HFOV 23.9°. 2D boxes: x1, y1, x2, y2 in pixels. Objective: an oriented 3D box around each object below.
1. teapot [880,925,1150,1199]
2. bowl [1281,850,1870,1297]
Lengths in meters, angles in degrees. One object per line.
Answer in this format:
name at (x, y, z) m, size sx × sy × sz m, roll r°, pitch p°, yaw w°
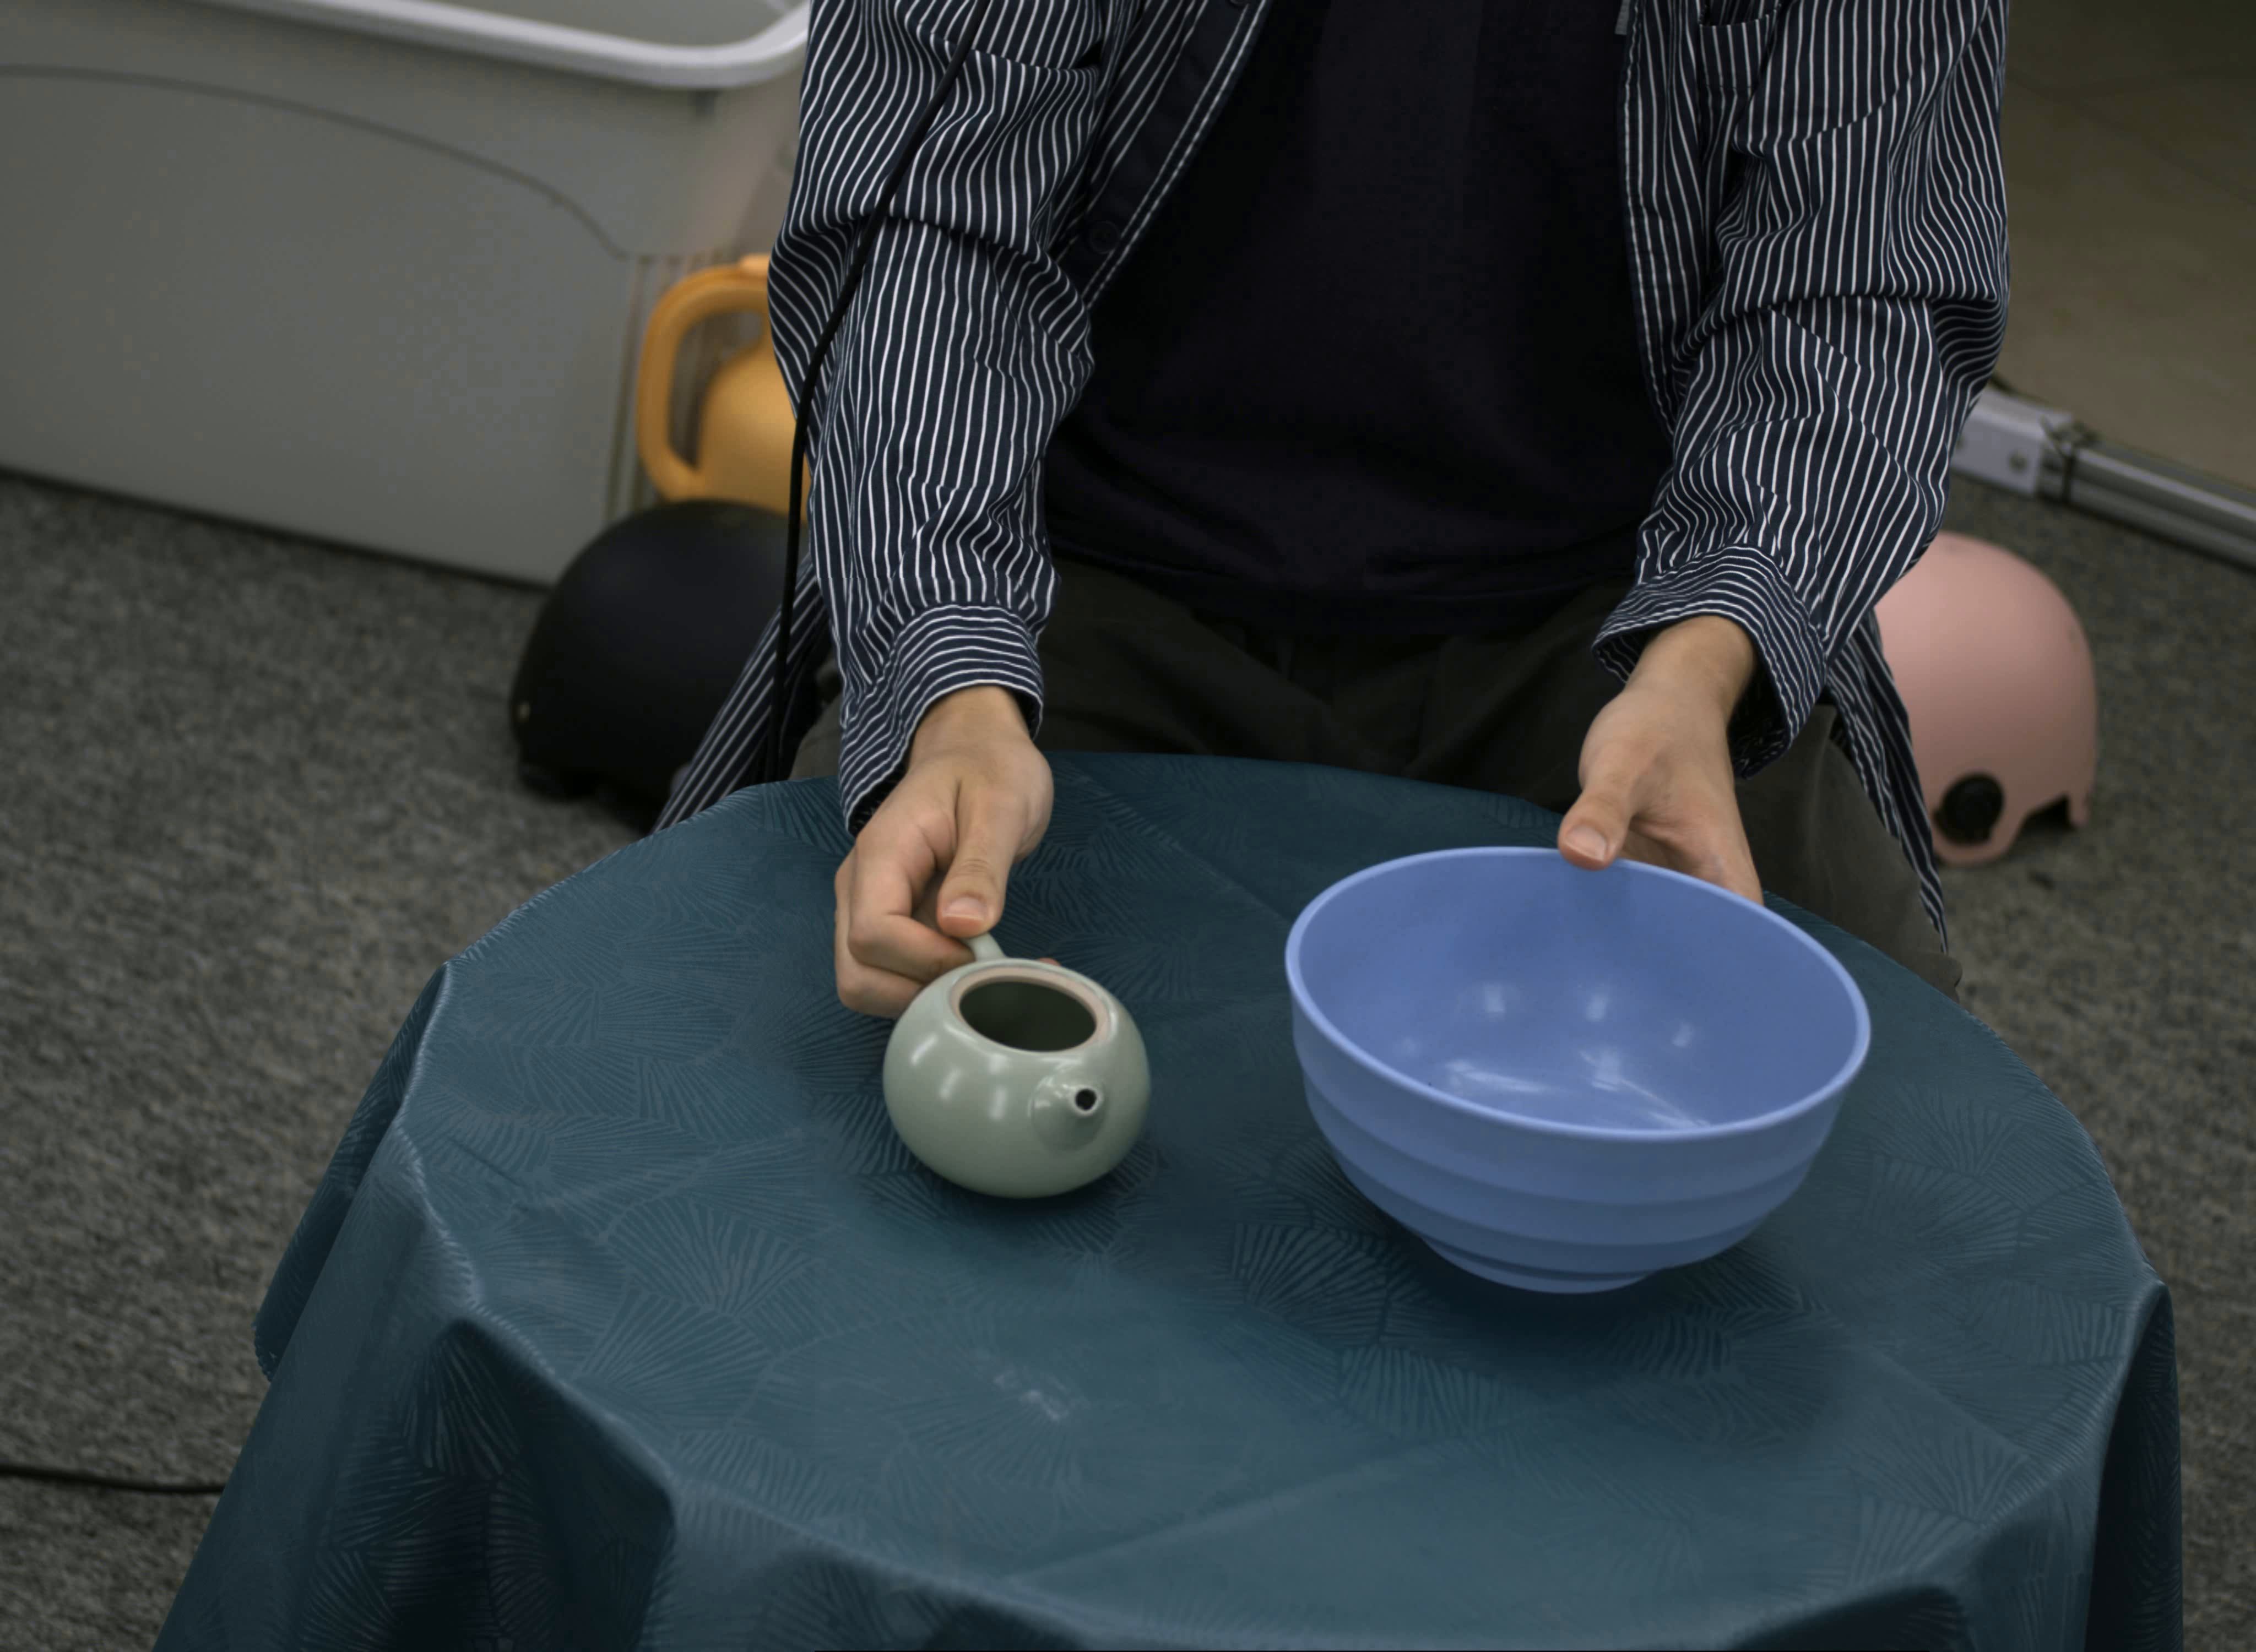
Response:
teapot at (-0.041, 0.081, 1.803) m, size 0.091 × 0.061 × 0.129 m, roll -3°, pitch 31°, yaw -18°
bowl at (0.144, 0.094, 1.786) m, size 0.196 × 0.095 × 0.197 m, roll 4°, pitch 27°, yaw -3°
